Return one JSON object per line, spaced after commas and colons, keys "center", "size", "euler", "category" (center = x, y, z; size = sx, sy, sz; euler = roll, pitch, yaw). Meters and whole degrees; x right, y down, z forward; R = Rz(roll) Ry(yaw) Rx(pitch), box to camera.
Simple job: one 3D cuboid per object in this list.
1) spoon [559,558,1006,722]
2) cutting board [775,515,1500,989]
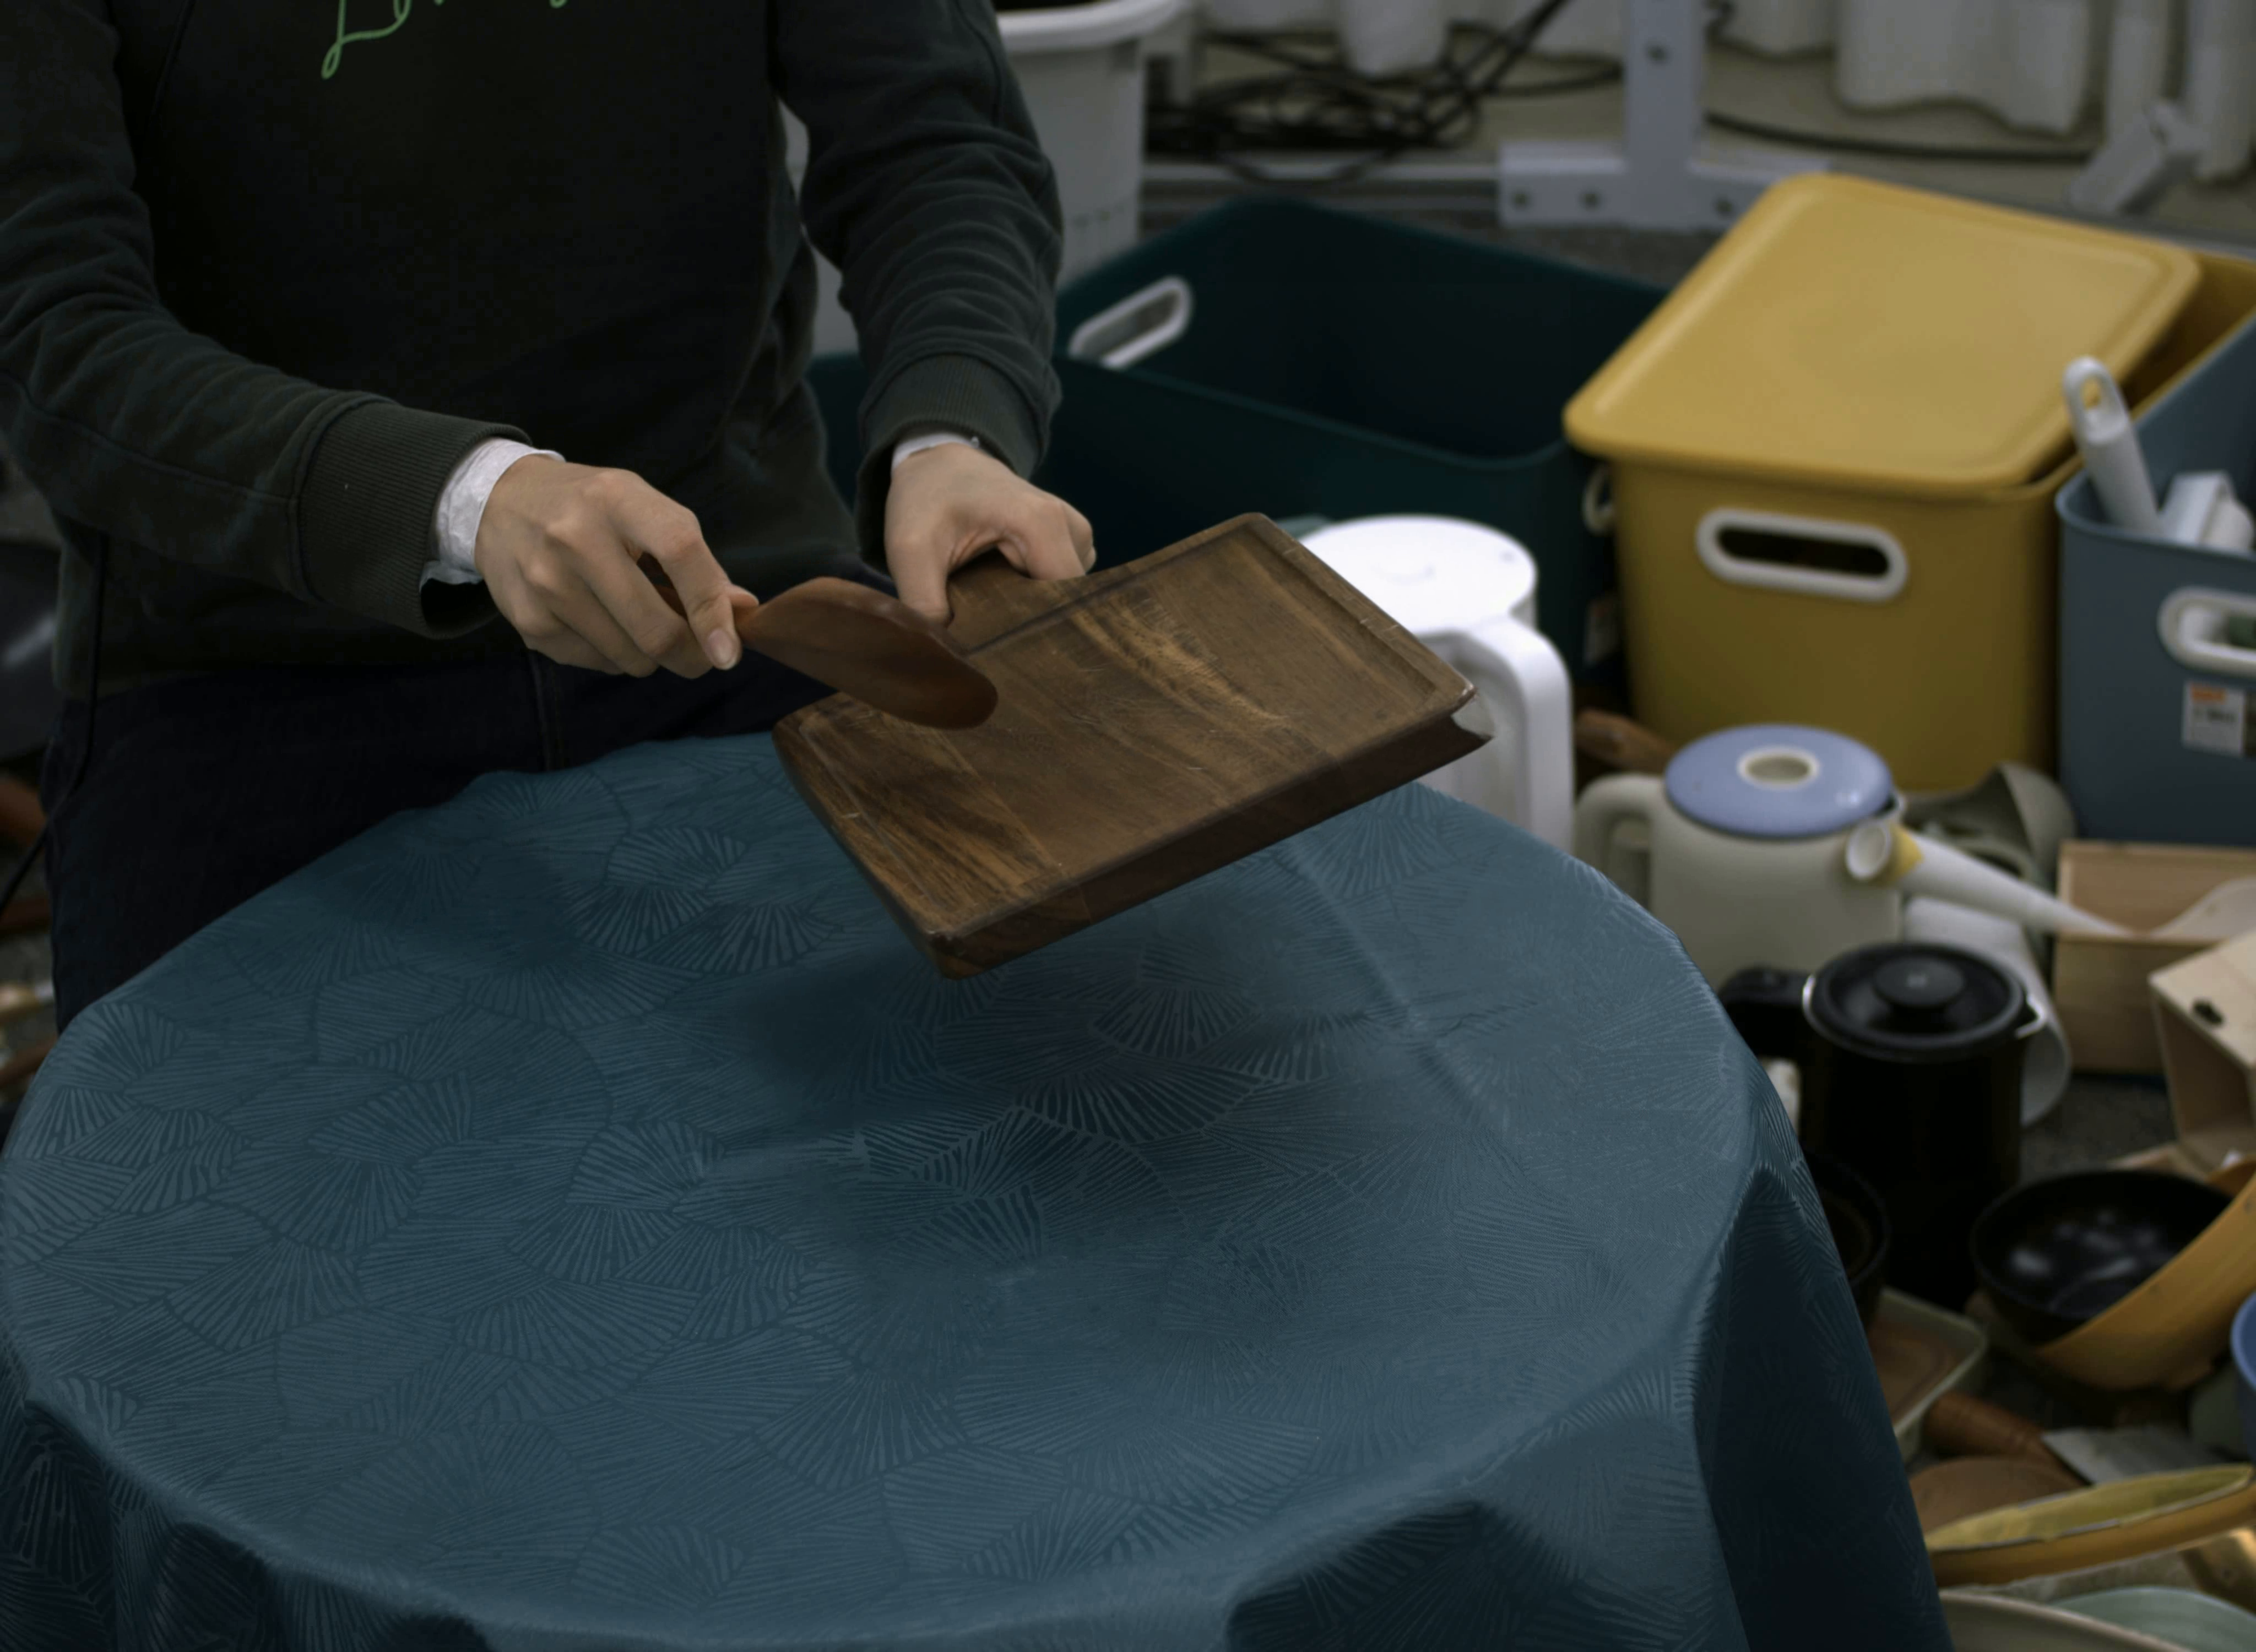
{"center": [-0.123, -0.066, 1.910], "size": [0.215, 0.075, 0.017], "euler": [14, 67, 46], "category": "spoon"}
{"center": [-0.016, -0.044, 1.939], "size": [0.201, 0.023, 0.354], "euler": [-25, 21, -8], "category": "cutting board"}
